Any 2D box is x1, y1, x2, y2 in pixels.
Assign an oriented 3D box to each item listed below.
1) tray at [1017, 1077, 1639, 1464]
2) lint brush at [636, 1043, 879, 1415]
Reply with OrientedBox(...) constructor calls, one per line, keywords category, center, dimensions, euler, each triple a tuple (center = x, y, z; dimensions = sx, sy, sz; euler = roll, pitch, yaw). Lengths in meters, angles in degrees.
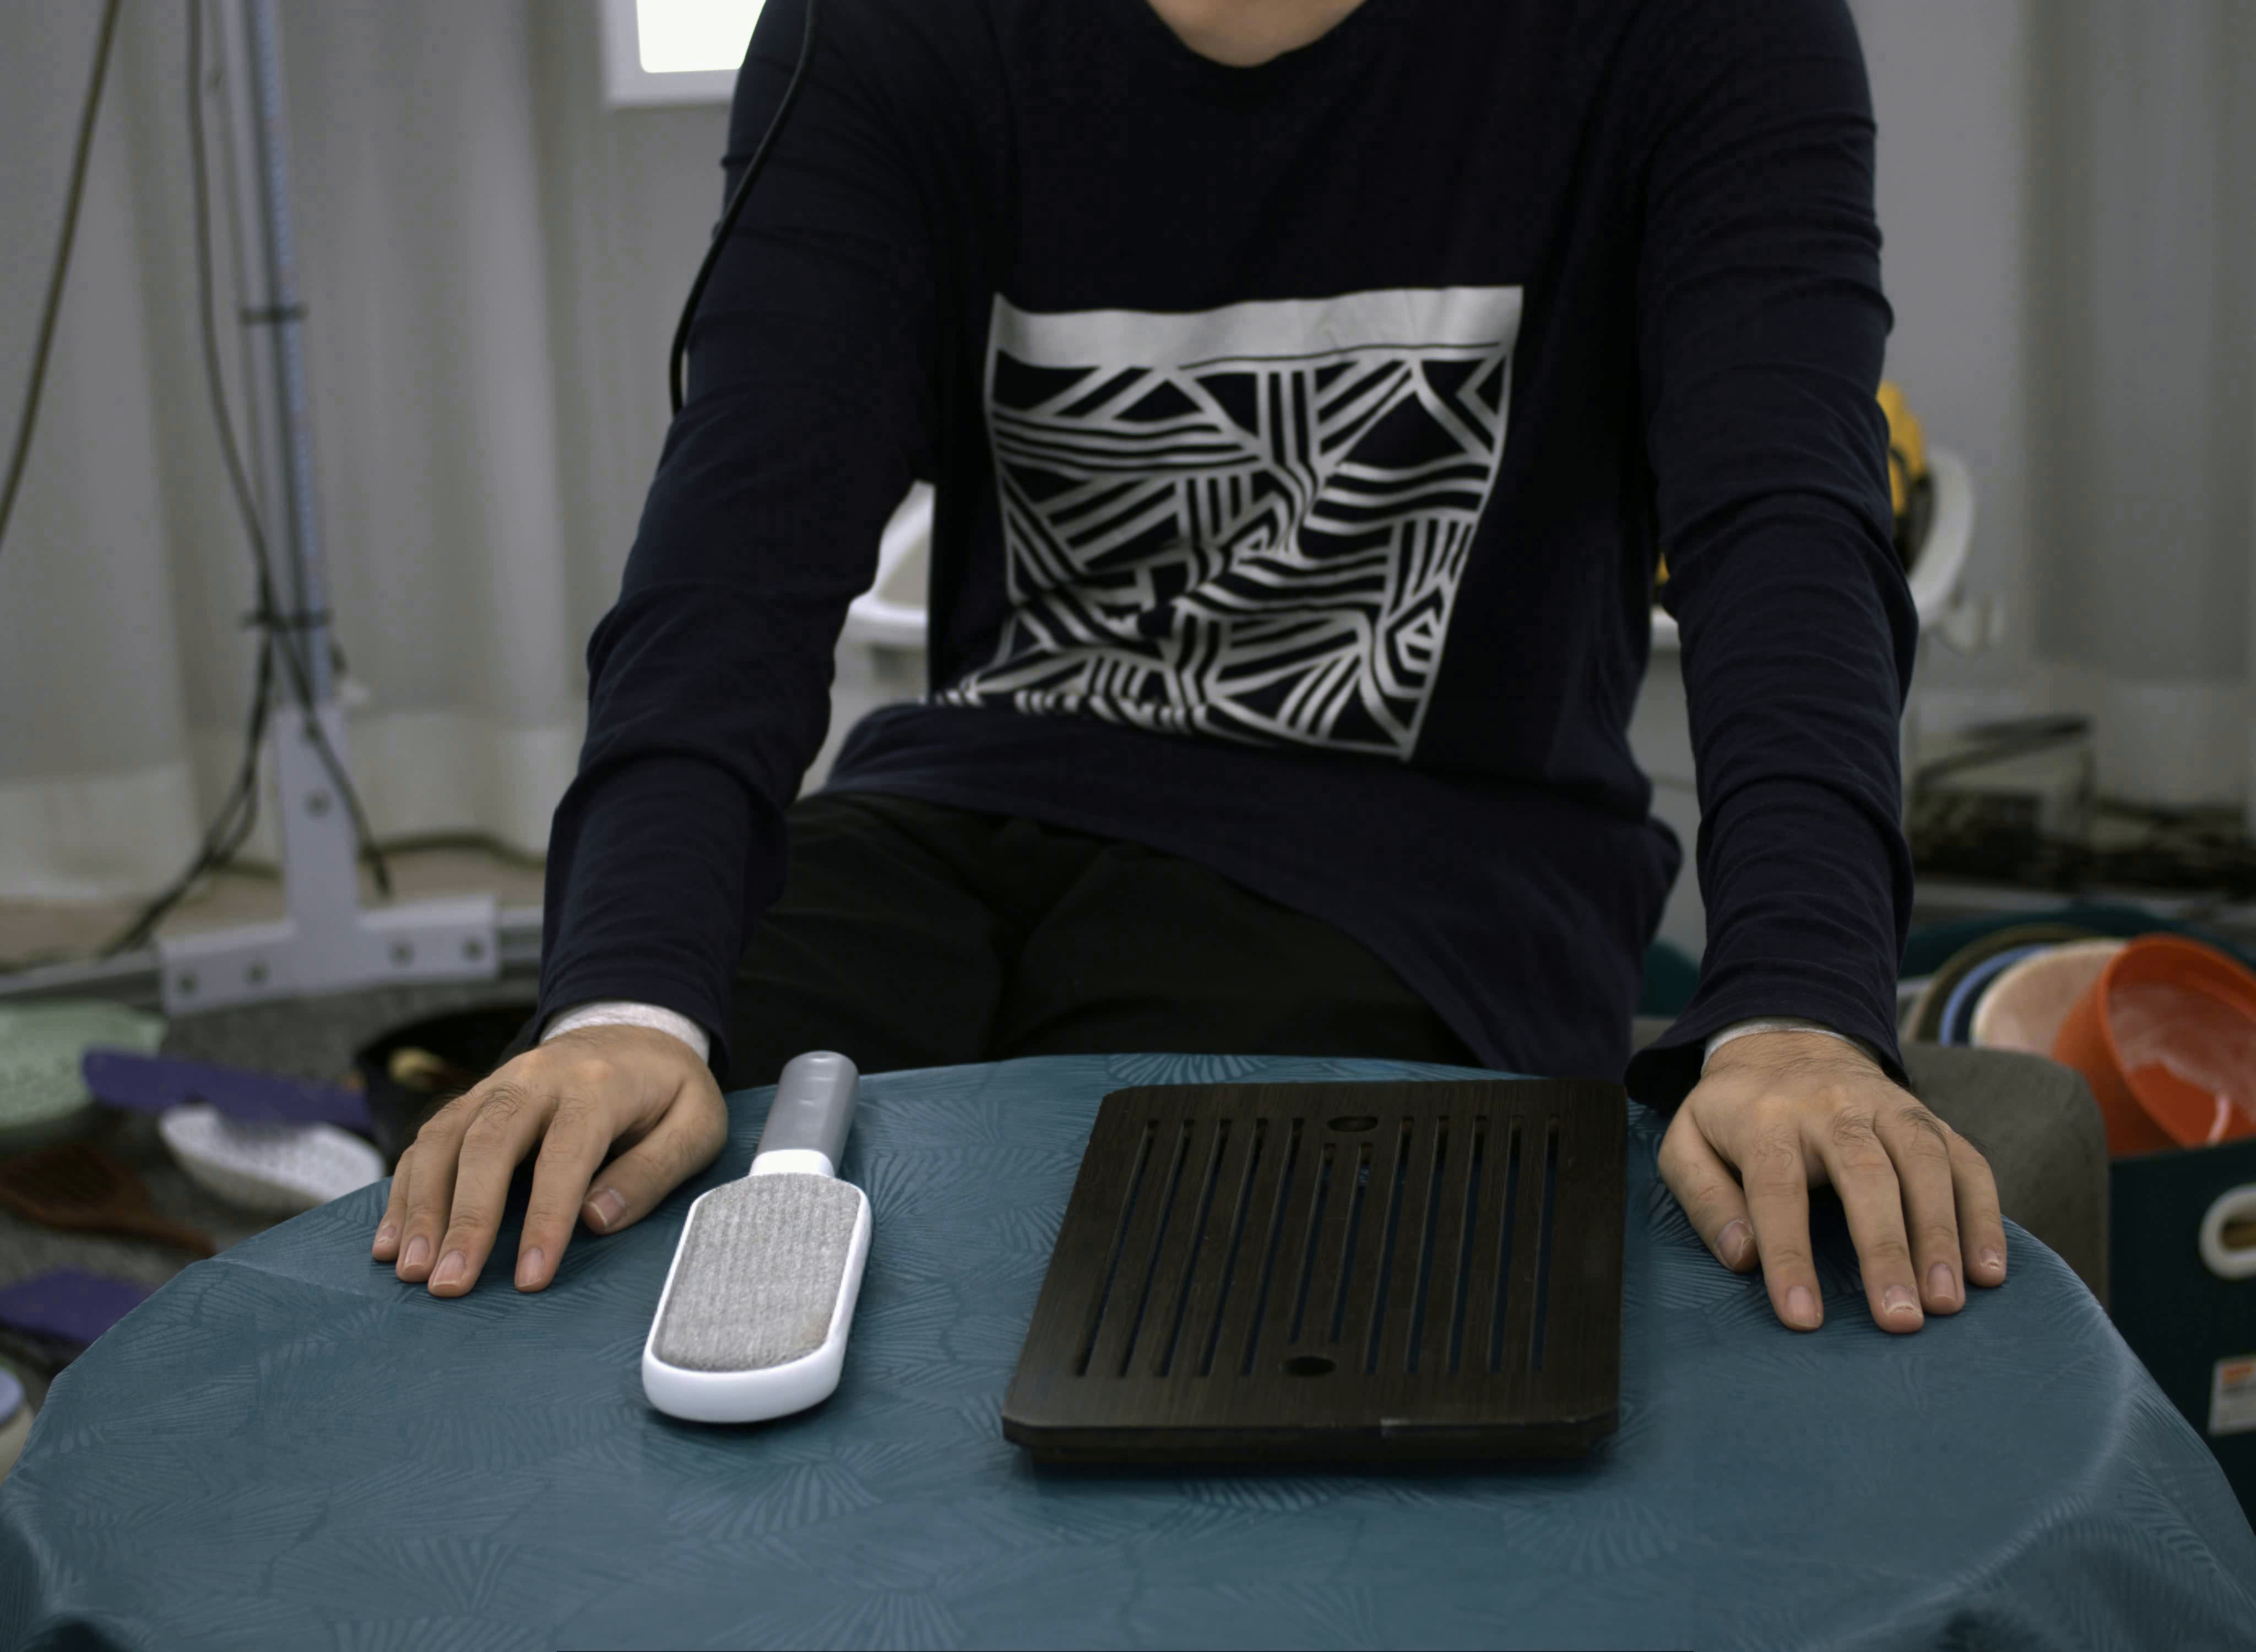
OrientedBox(category="tray", center=(0.066, 0.129, 1.617), dimensions=(0.170, 0.018, 0.308), euler=(-2, 15, 6))
OrientedBox(category="lint brush", center=(-0.105, 0.119, 1.671), dimensions=(0.060, 0.021, 0.311), euler=(-7, 14, 4))
